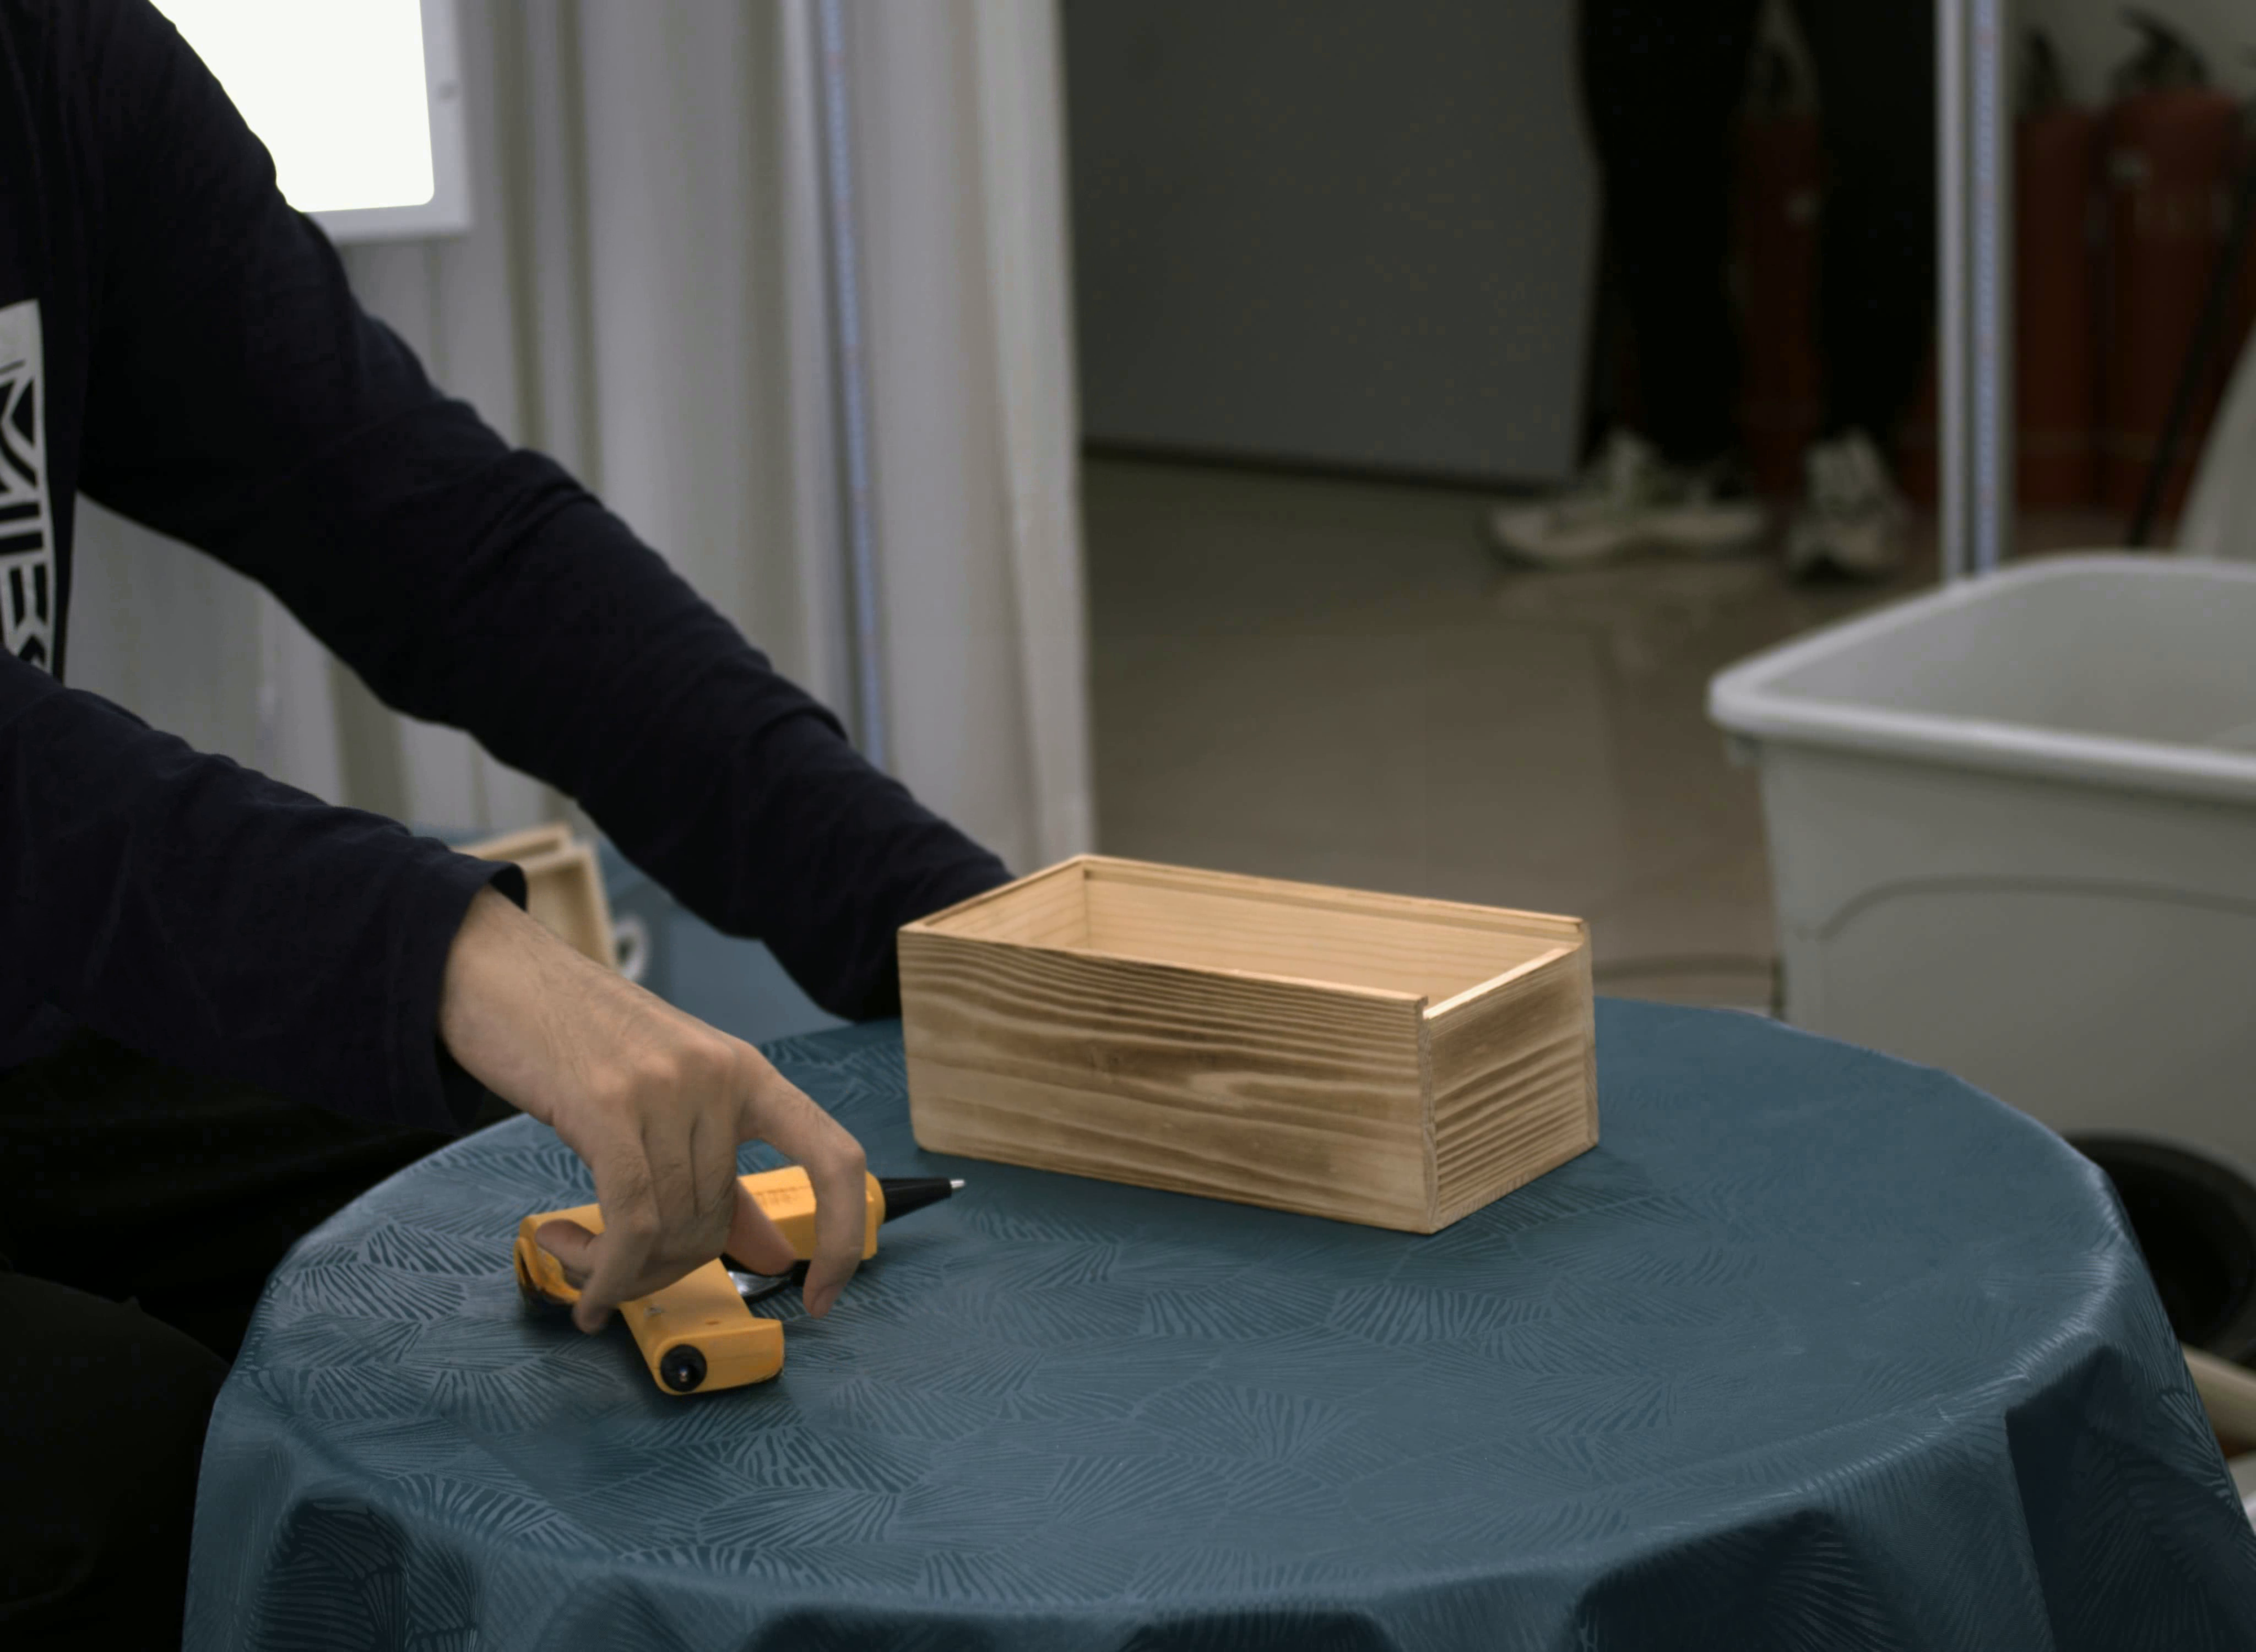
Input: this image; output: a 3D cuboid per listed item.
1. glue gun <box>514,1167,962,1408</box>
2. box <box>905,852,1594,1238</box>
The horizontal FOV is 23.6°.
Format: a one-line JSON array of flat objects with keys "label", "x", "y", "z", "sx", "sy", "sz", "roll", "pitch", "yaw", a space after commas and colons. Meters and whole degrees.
[{"label": "glue gun", "x": -0.101, "y": 0.140, "z": 1.683, "sx": 0.148, "sy": 0.031, "sz": 0.134, "roll": -12, "pitch": 18, "yaw": -26}, {"label": "box", "x": 0.040, "y": 0.070, "z": 1.806, "sx": 0.213, "sy": 0.081, "sz": 0.105, "roll": 8, "pitch": 18, "yaw": 37}]
